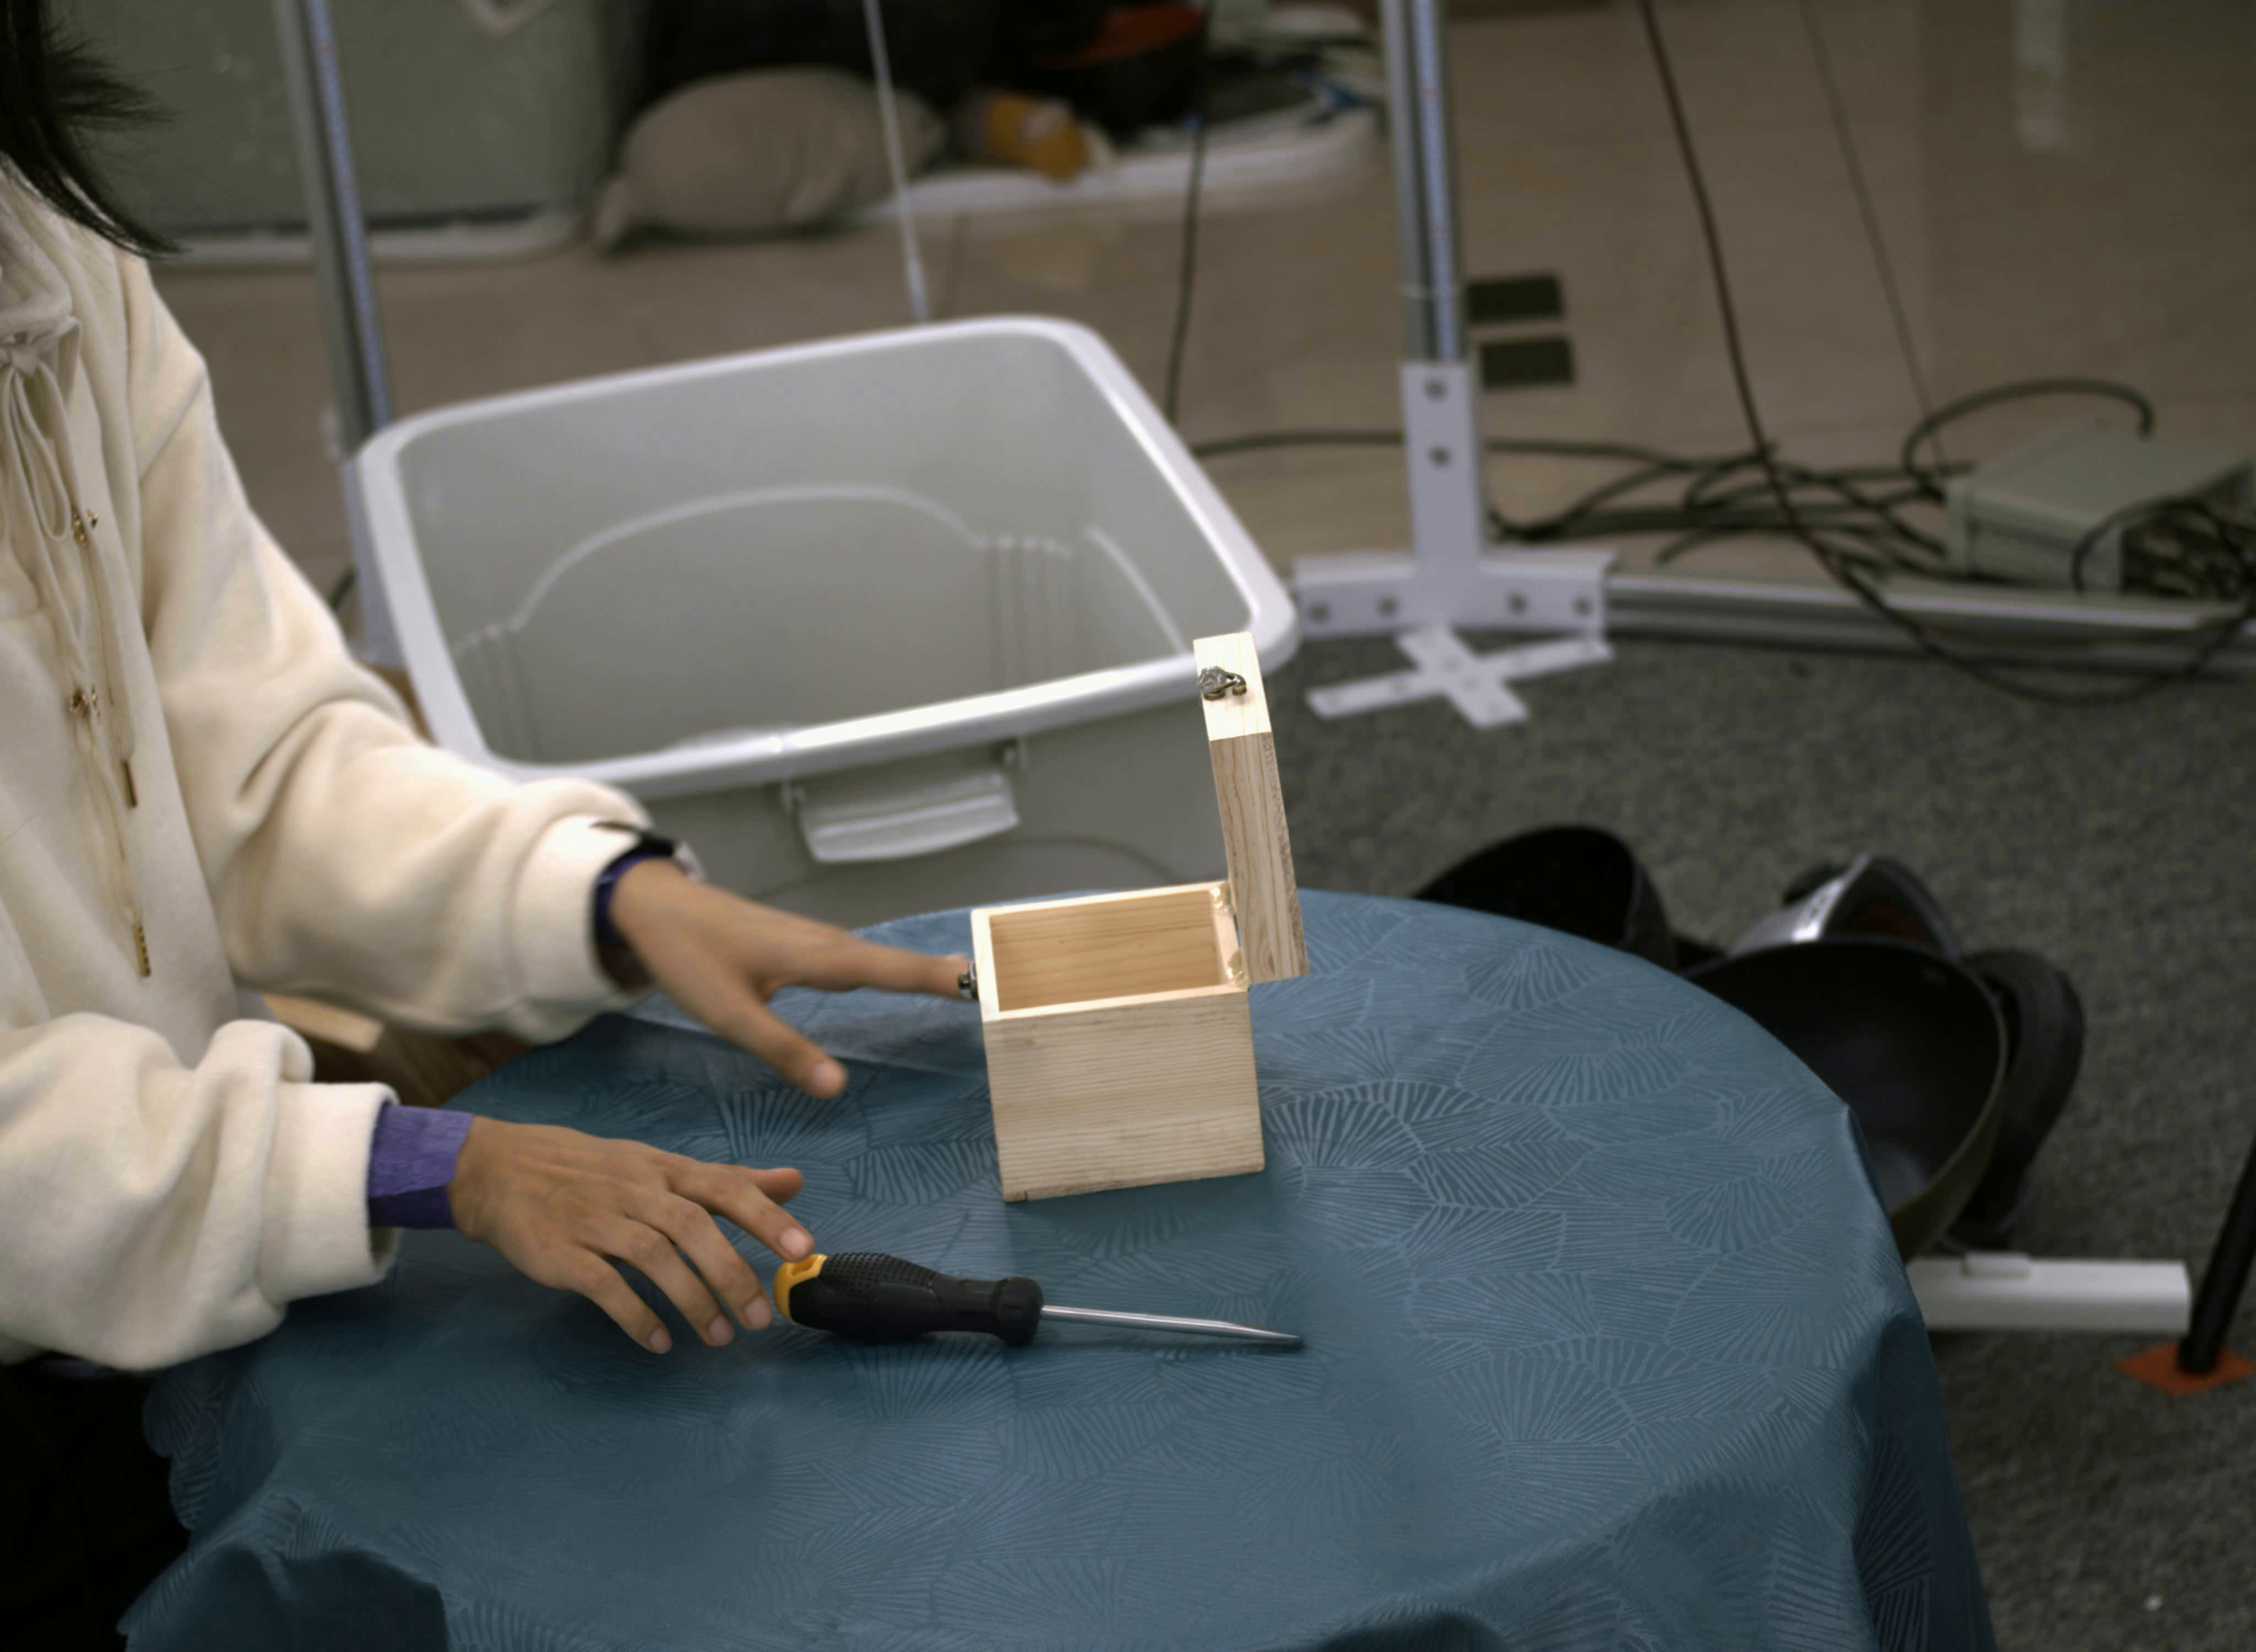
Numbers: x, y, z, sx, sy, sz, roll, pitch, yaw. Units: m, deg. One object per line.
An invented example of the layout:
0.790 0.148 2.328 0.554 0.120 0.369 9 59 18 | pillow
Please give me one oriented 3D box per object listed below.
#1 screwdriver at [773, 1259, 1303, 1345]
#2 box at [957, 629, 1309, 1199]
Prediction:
-0.034 0.178 2.048 0.197 0.032 0.031 4 27 17 | screwdriver
-0.001 0.032 2.157 0.133 0.187 0.101 -7 26 -2 | box
